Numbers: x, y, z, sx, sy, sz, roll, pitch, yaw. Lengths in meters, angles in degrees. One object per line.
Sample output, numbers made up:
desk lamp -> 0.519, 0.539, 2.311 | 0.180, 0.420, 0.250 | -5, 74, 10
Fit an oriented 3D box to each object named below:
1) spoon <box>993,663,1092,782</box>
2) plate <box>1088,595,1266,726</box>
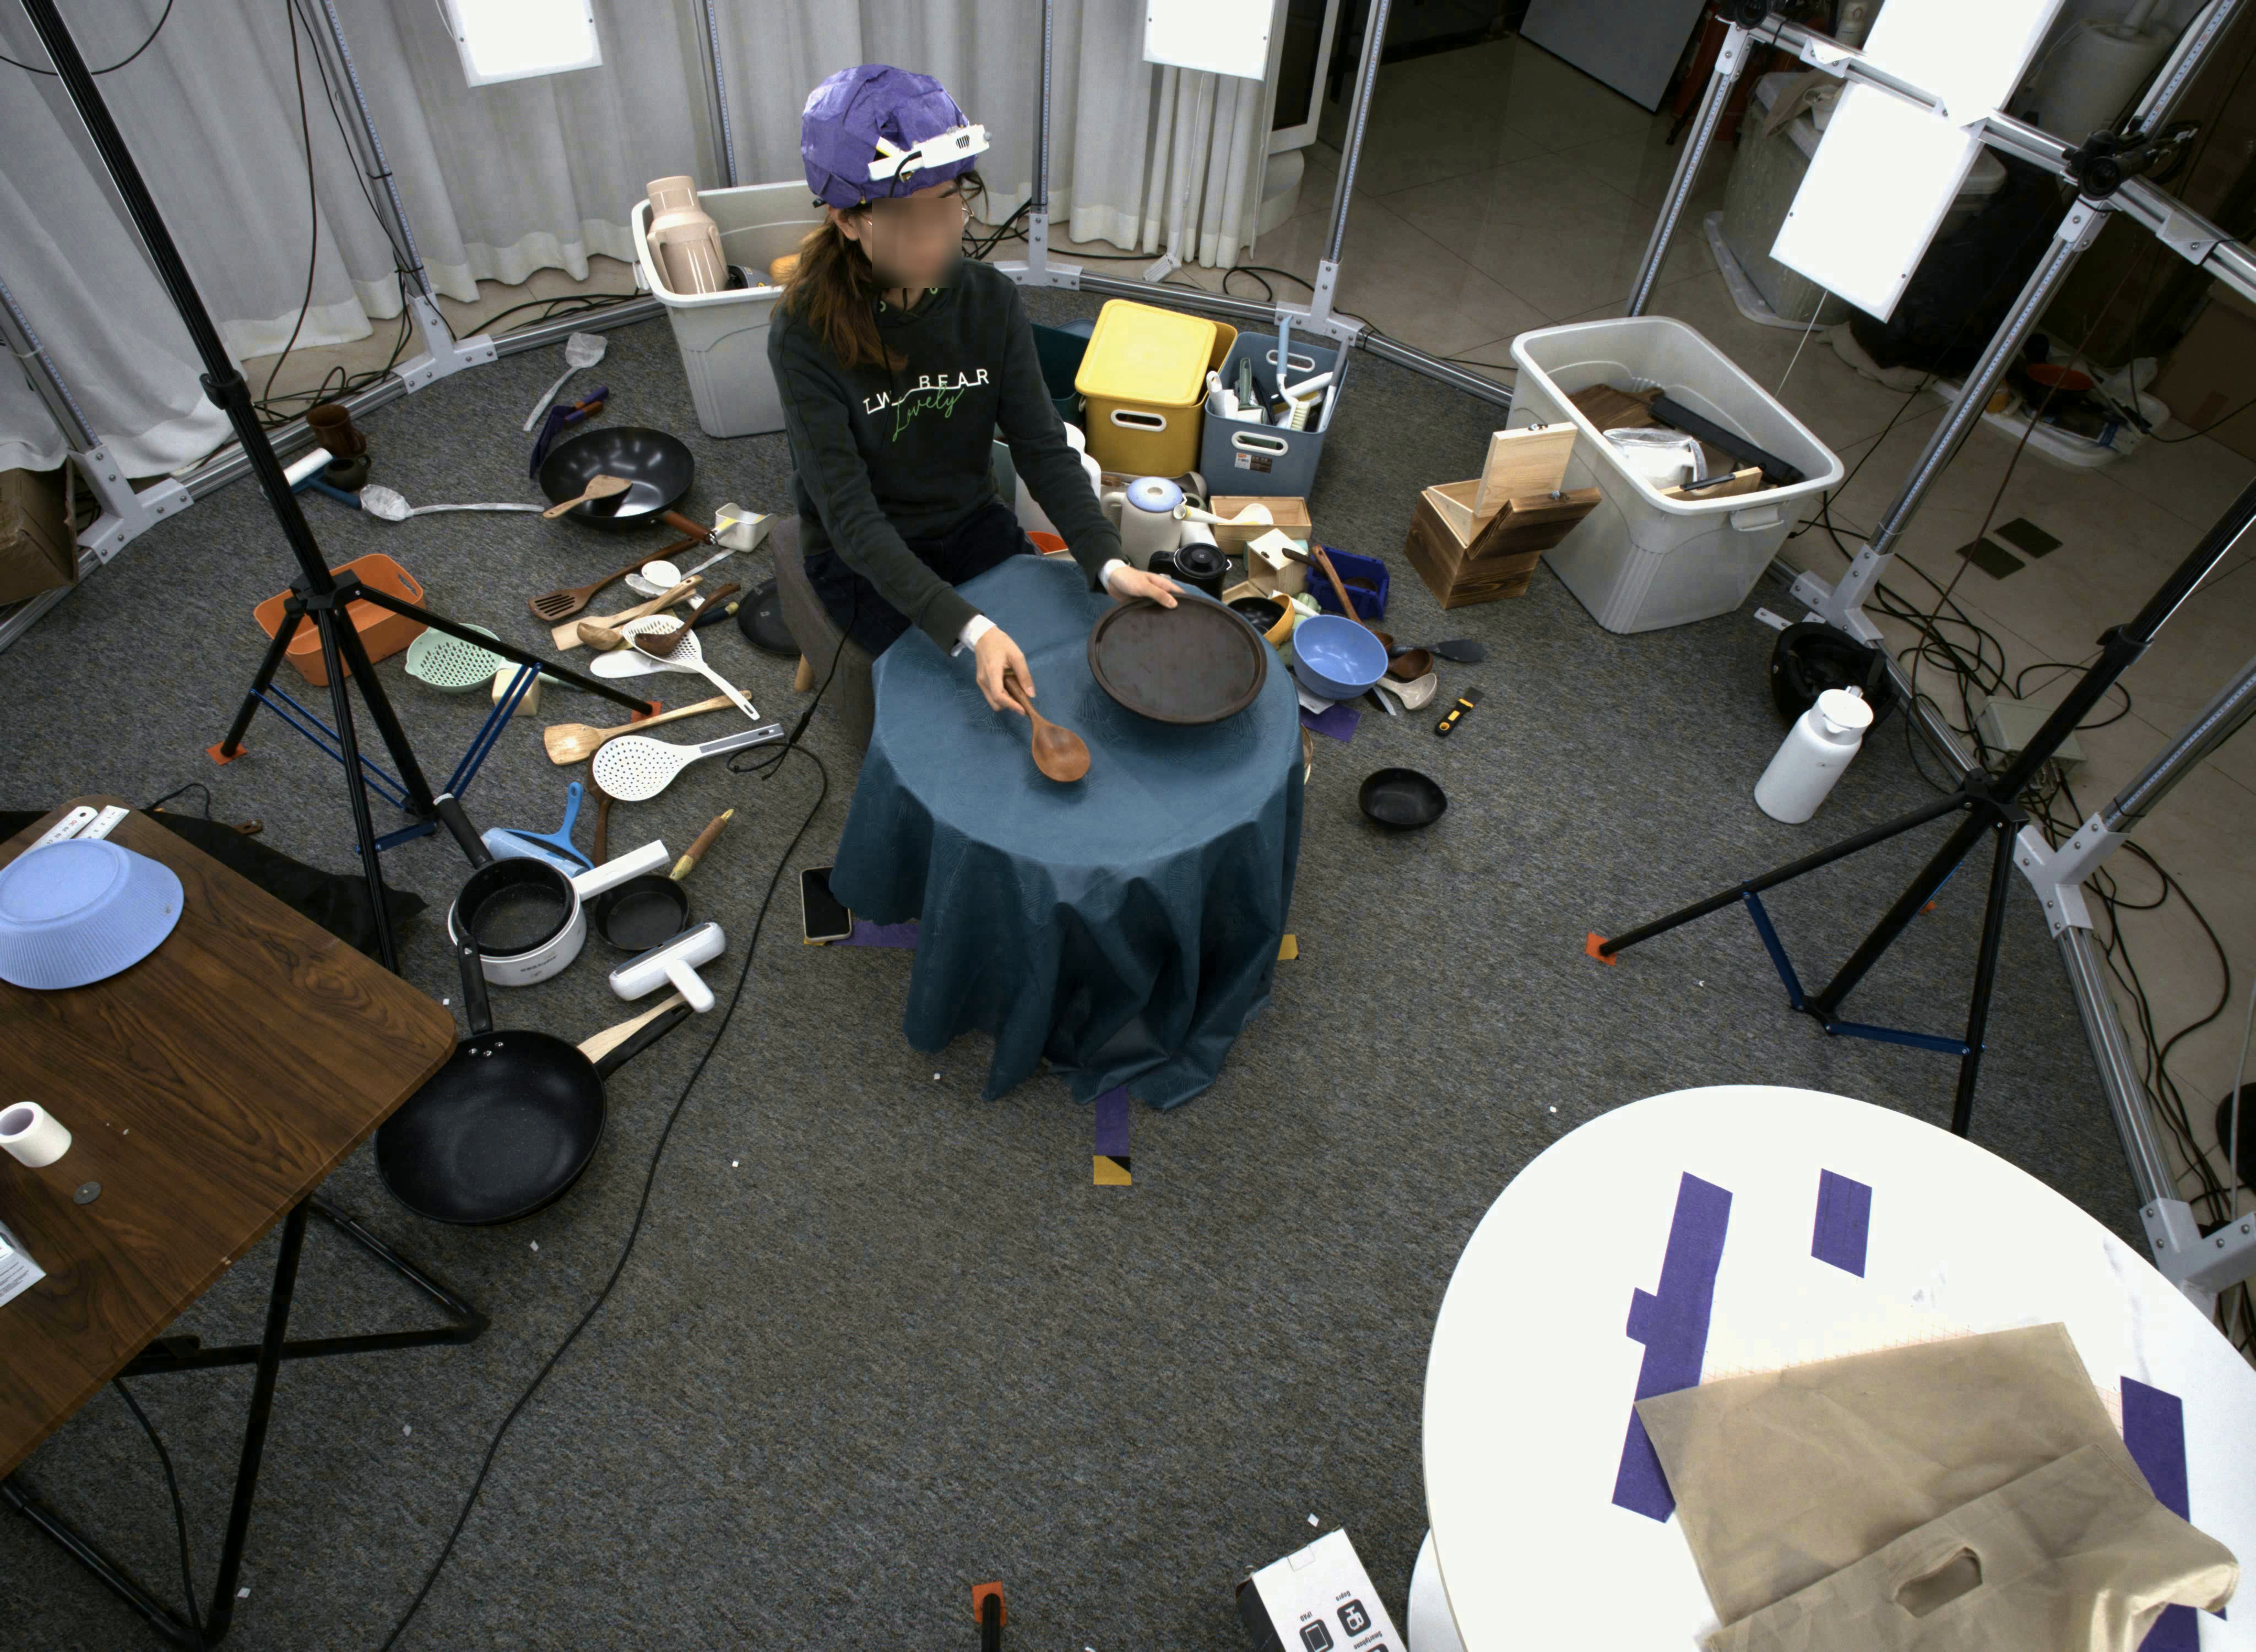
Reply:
spoon -> -0.123, -0.143, 1.744 | 0.076, 0.017, 0.219 | -27, 65, -18
plate -> 0.069, -0.235, 1.805 | 0.254, 0.028, 0.261 | 4, 51, -5
